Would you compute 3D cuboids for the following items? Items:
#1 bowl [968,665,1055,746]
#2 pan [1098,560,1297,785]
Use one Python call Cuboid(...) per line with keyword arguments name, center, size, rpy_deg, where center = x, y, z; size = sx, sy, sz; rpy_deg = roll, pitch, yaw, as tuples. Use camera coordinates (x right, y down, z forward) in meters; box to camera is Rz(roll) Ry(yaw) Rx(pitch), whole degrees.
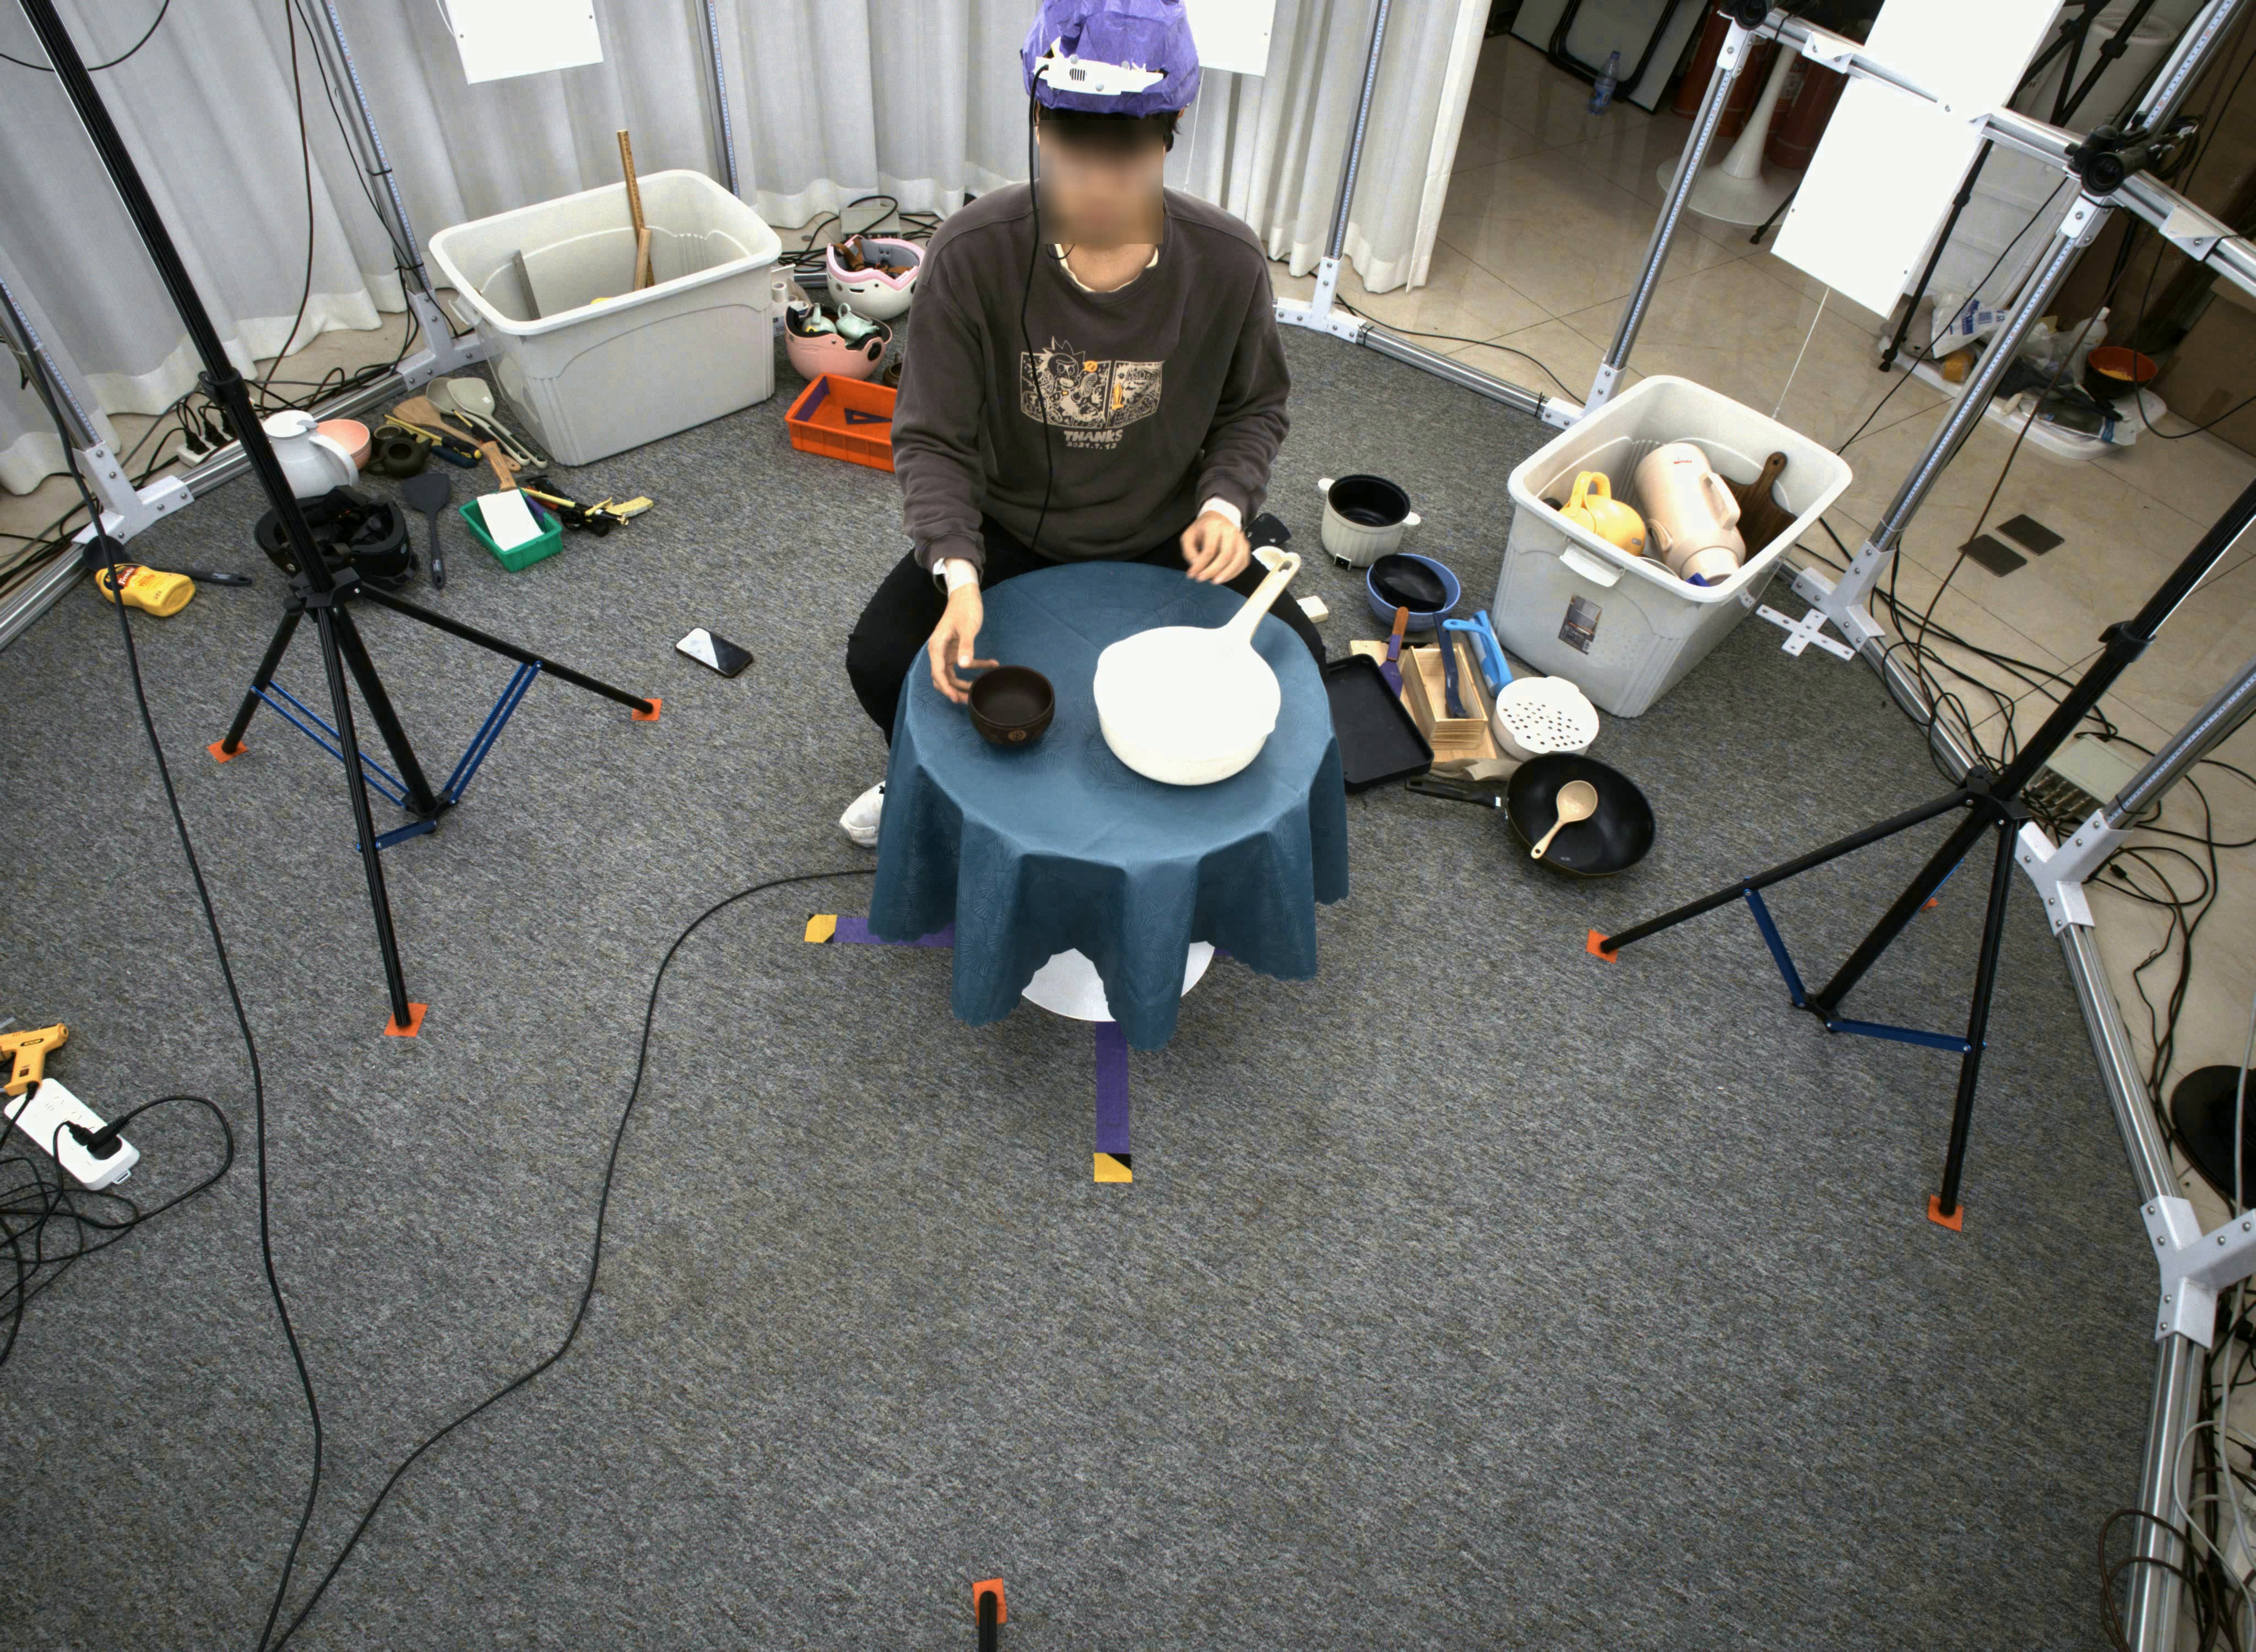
Cuboid(name="bowl", center=(-0.158, -0.156, 1.745), size=(0.118, 0.068, 0.121), rpy_deg=(1, 48, -2))
Cuboid(name="pan", center=(0.131, -0.220, 1.802), size=(0.266, 0.099, 0.441), rpy_deg=(25, 51, 19))
